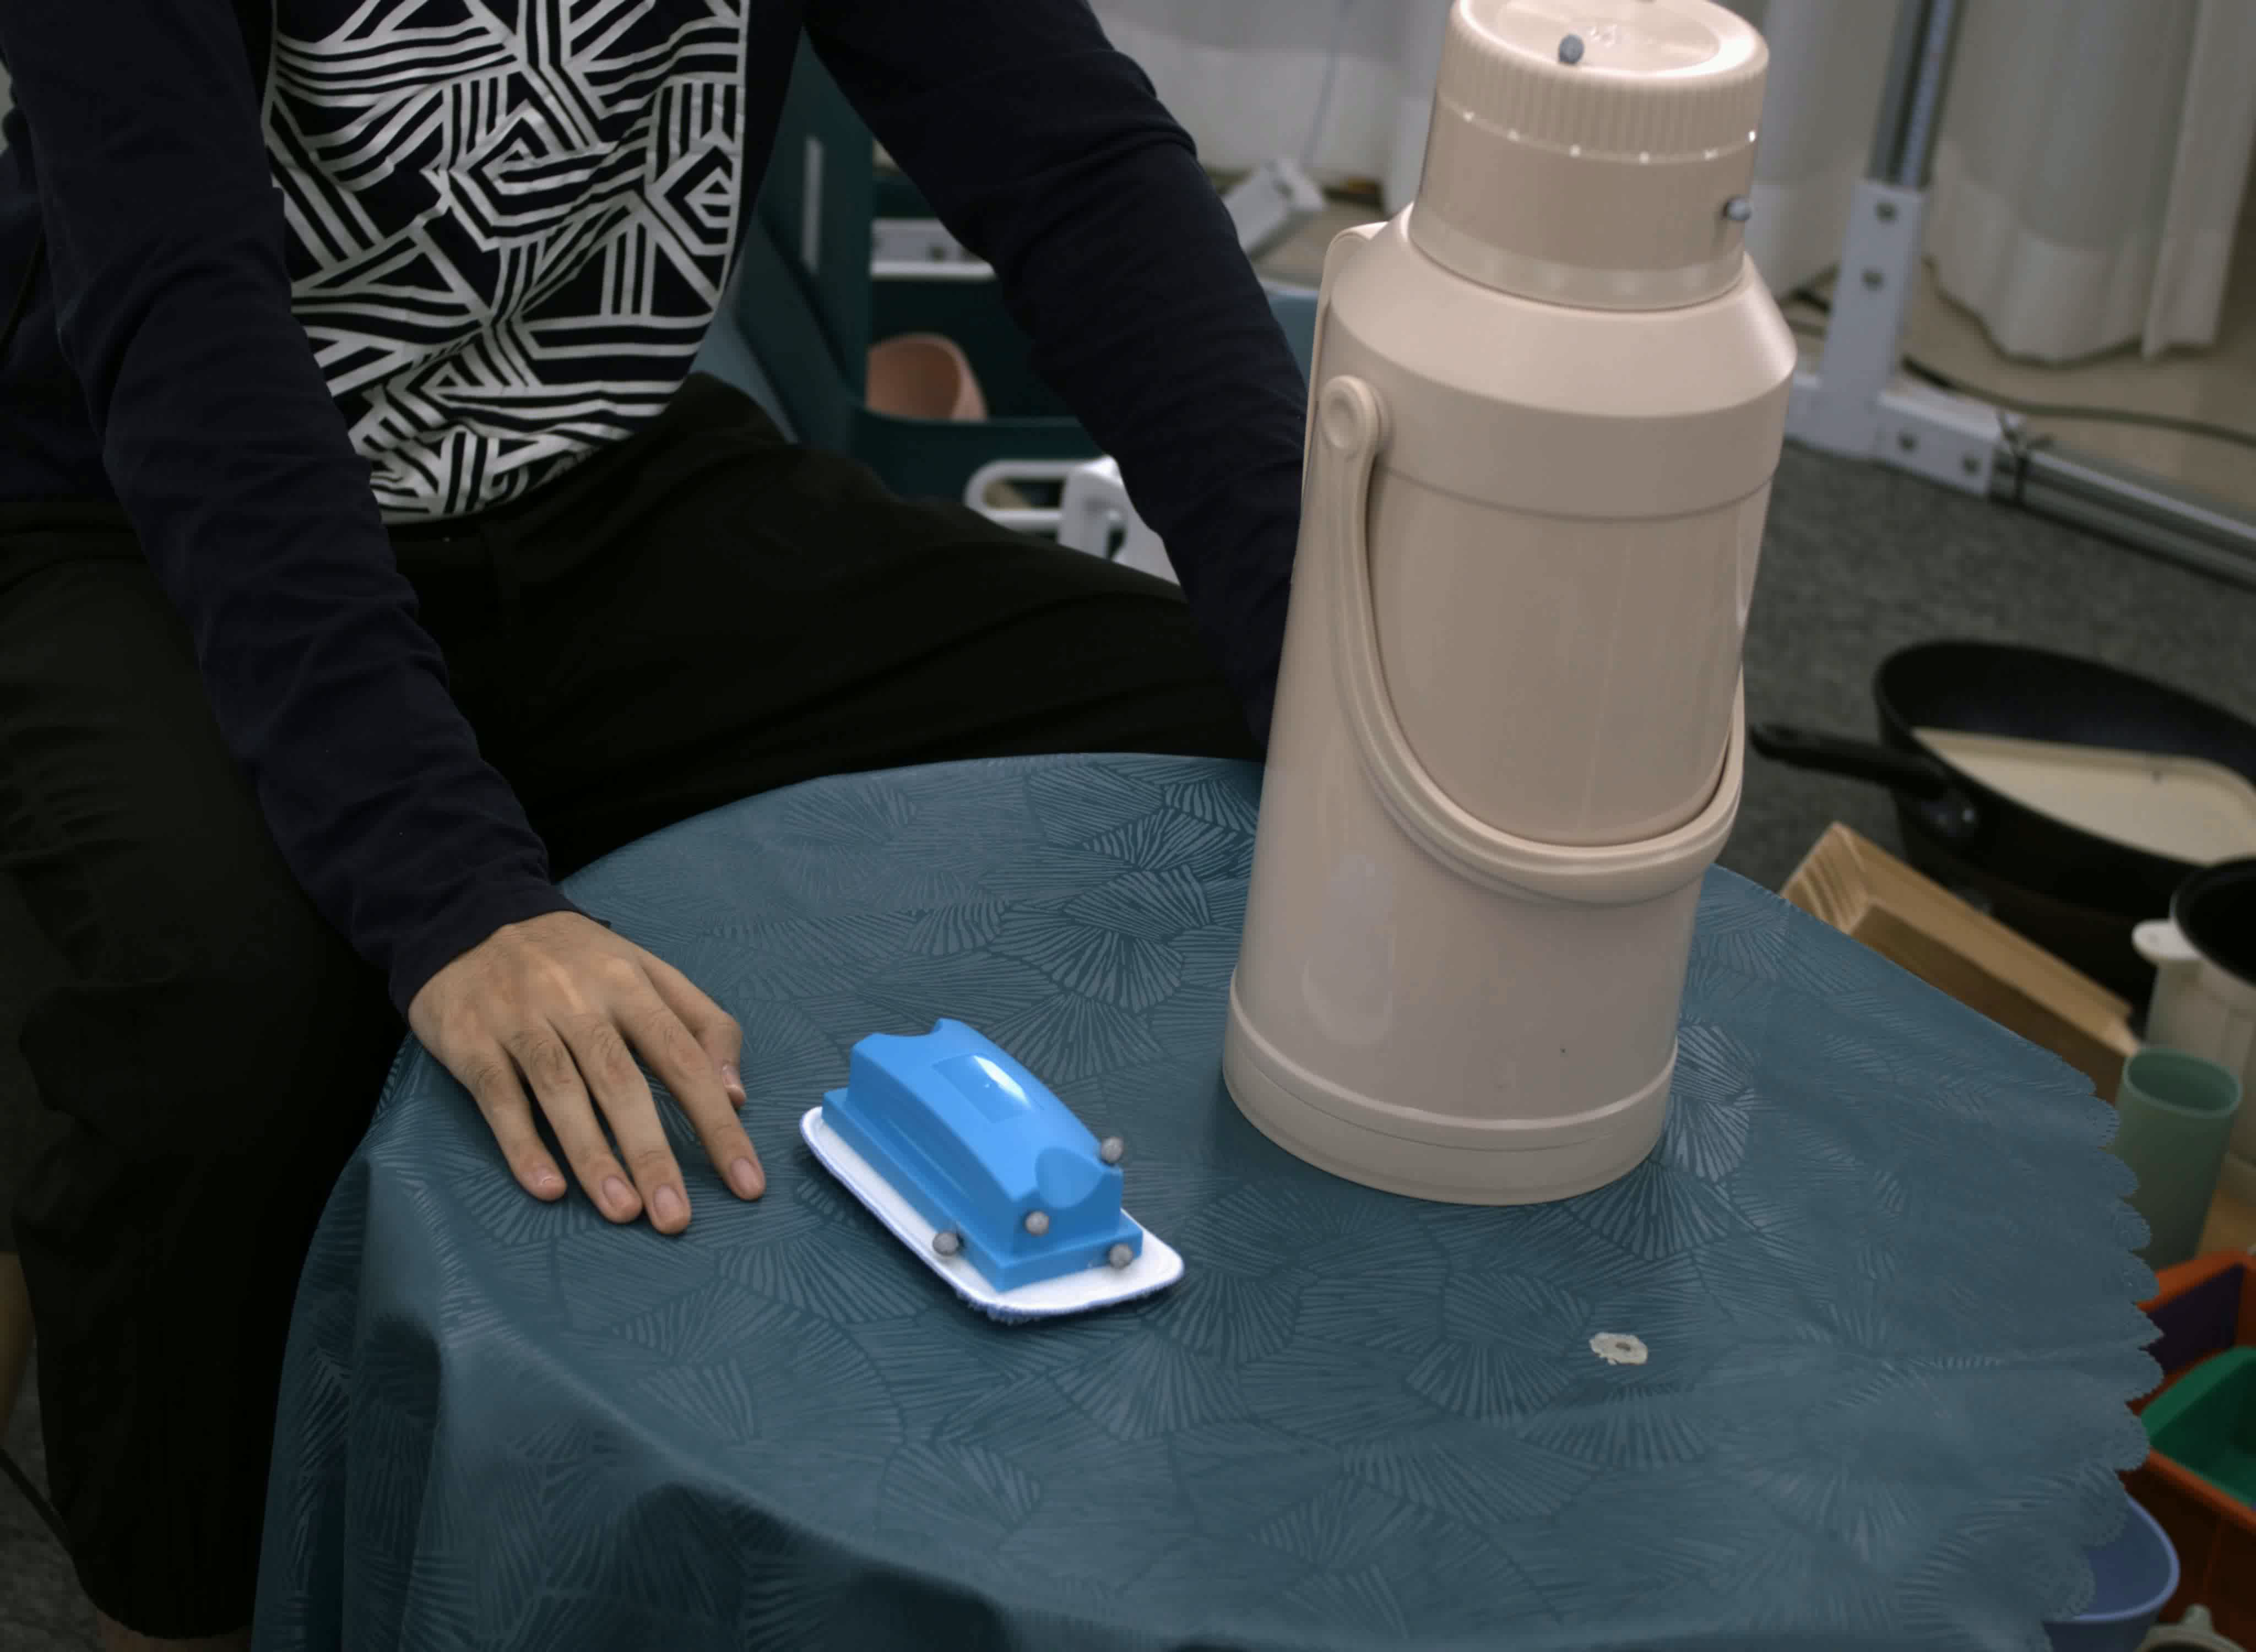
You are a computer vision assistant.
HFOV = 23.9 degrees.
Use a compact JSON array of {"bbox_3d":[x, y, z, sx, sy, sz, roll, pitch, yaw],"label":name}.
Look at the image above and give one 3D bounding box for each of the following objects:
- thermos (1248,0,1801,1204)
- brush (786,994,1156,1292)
[{"bbox_3d":[0.130,-0.088,1.814,0.174,0.405,0.209,-13,32,-31],"label":"thermos"},{"bbox_3d":[-0.050,0.101,1.772,0.083,0.056,0.145,-6,32,-31],"label":"brush"}]
